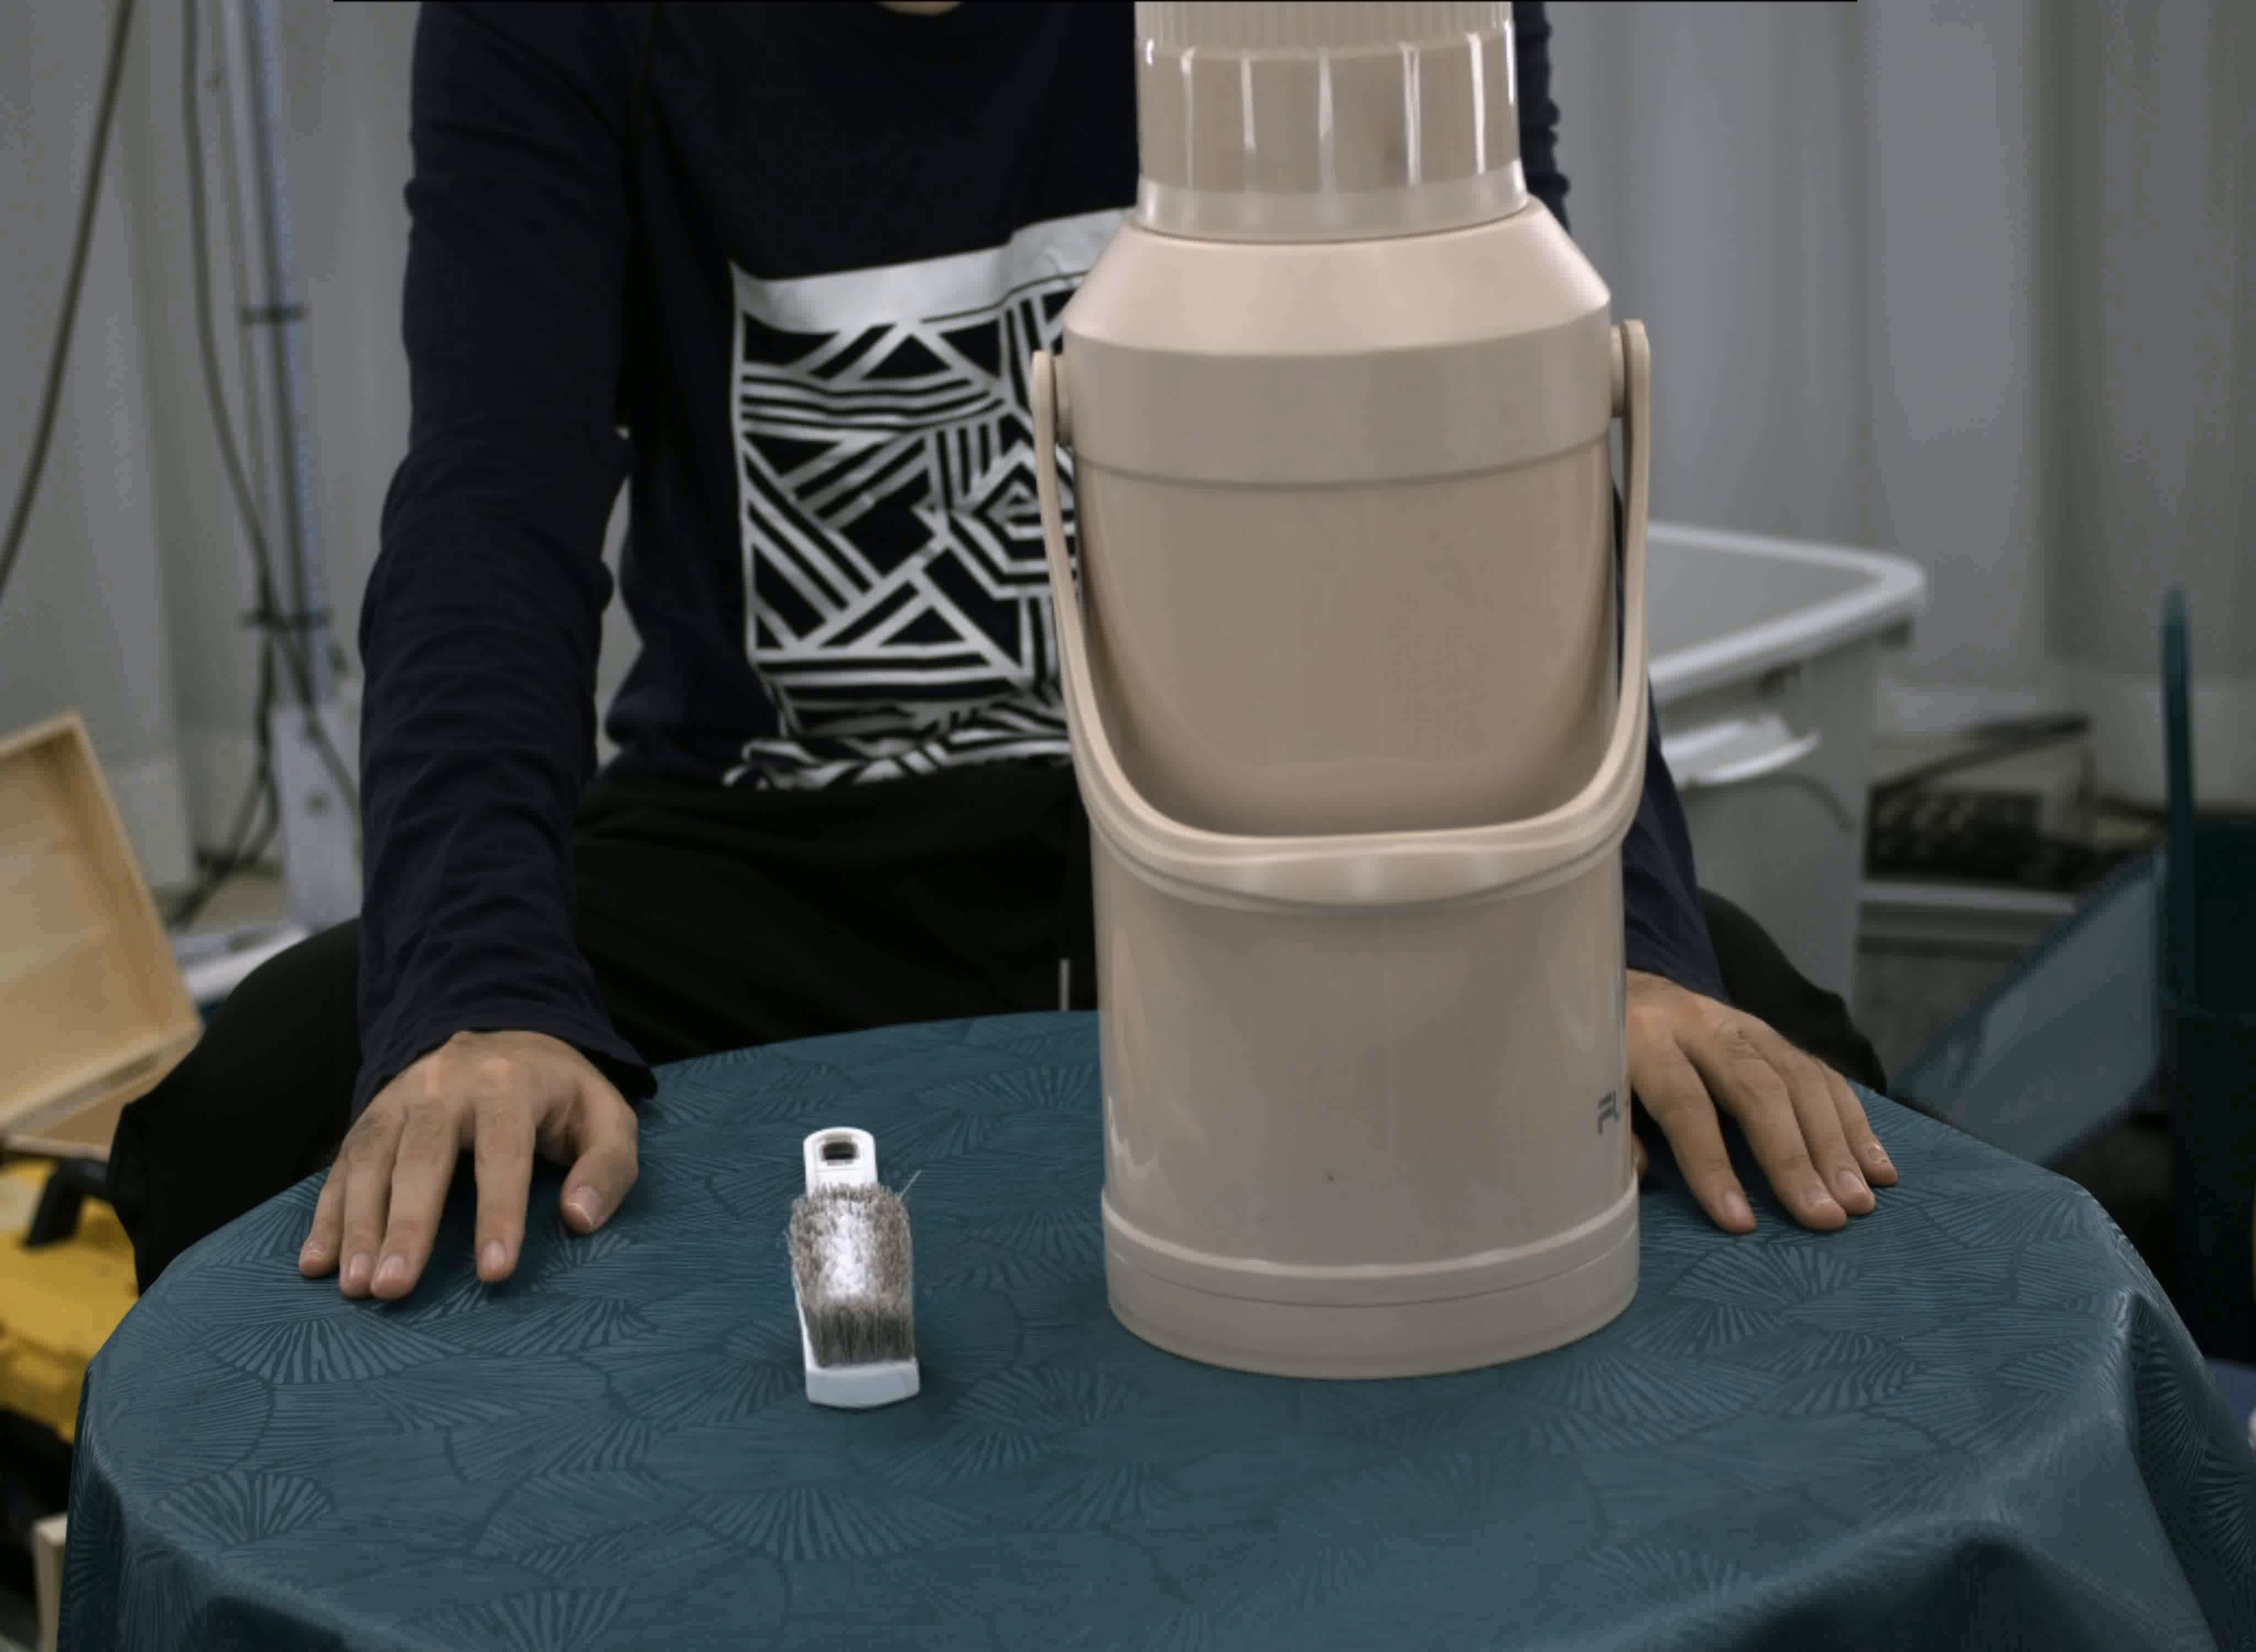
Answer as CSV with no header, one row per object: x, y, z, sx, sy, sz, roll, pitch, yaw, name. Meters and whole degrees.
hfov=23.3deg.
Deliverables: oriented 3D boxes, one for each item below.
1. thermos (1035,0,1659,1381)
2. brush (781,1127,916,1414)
0.066,-0.058,1.586,0.175,0.405,0.208,-5,14,-1,thermos
-0.081,0.113,1.643,0.034,0.050,0.245,-8,15,1,brush
